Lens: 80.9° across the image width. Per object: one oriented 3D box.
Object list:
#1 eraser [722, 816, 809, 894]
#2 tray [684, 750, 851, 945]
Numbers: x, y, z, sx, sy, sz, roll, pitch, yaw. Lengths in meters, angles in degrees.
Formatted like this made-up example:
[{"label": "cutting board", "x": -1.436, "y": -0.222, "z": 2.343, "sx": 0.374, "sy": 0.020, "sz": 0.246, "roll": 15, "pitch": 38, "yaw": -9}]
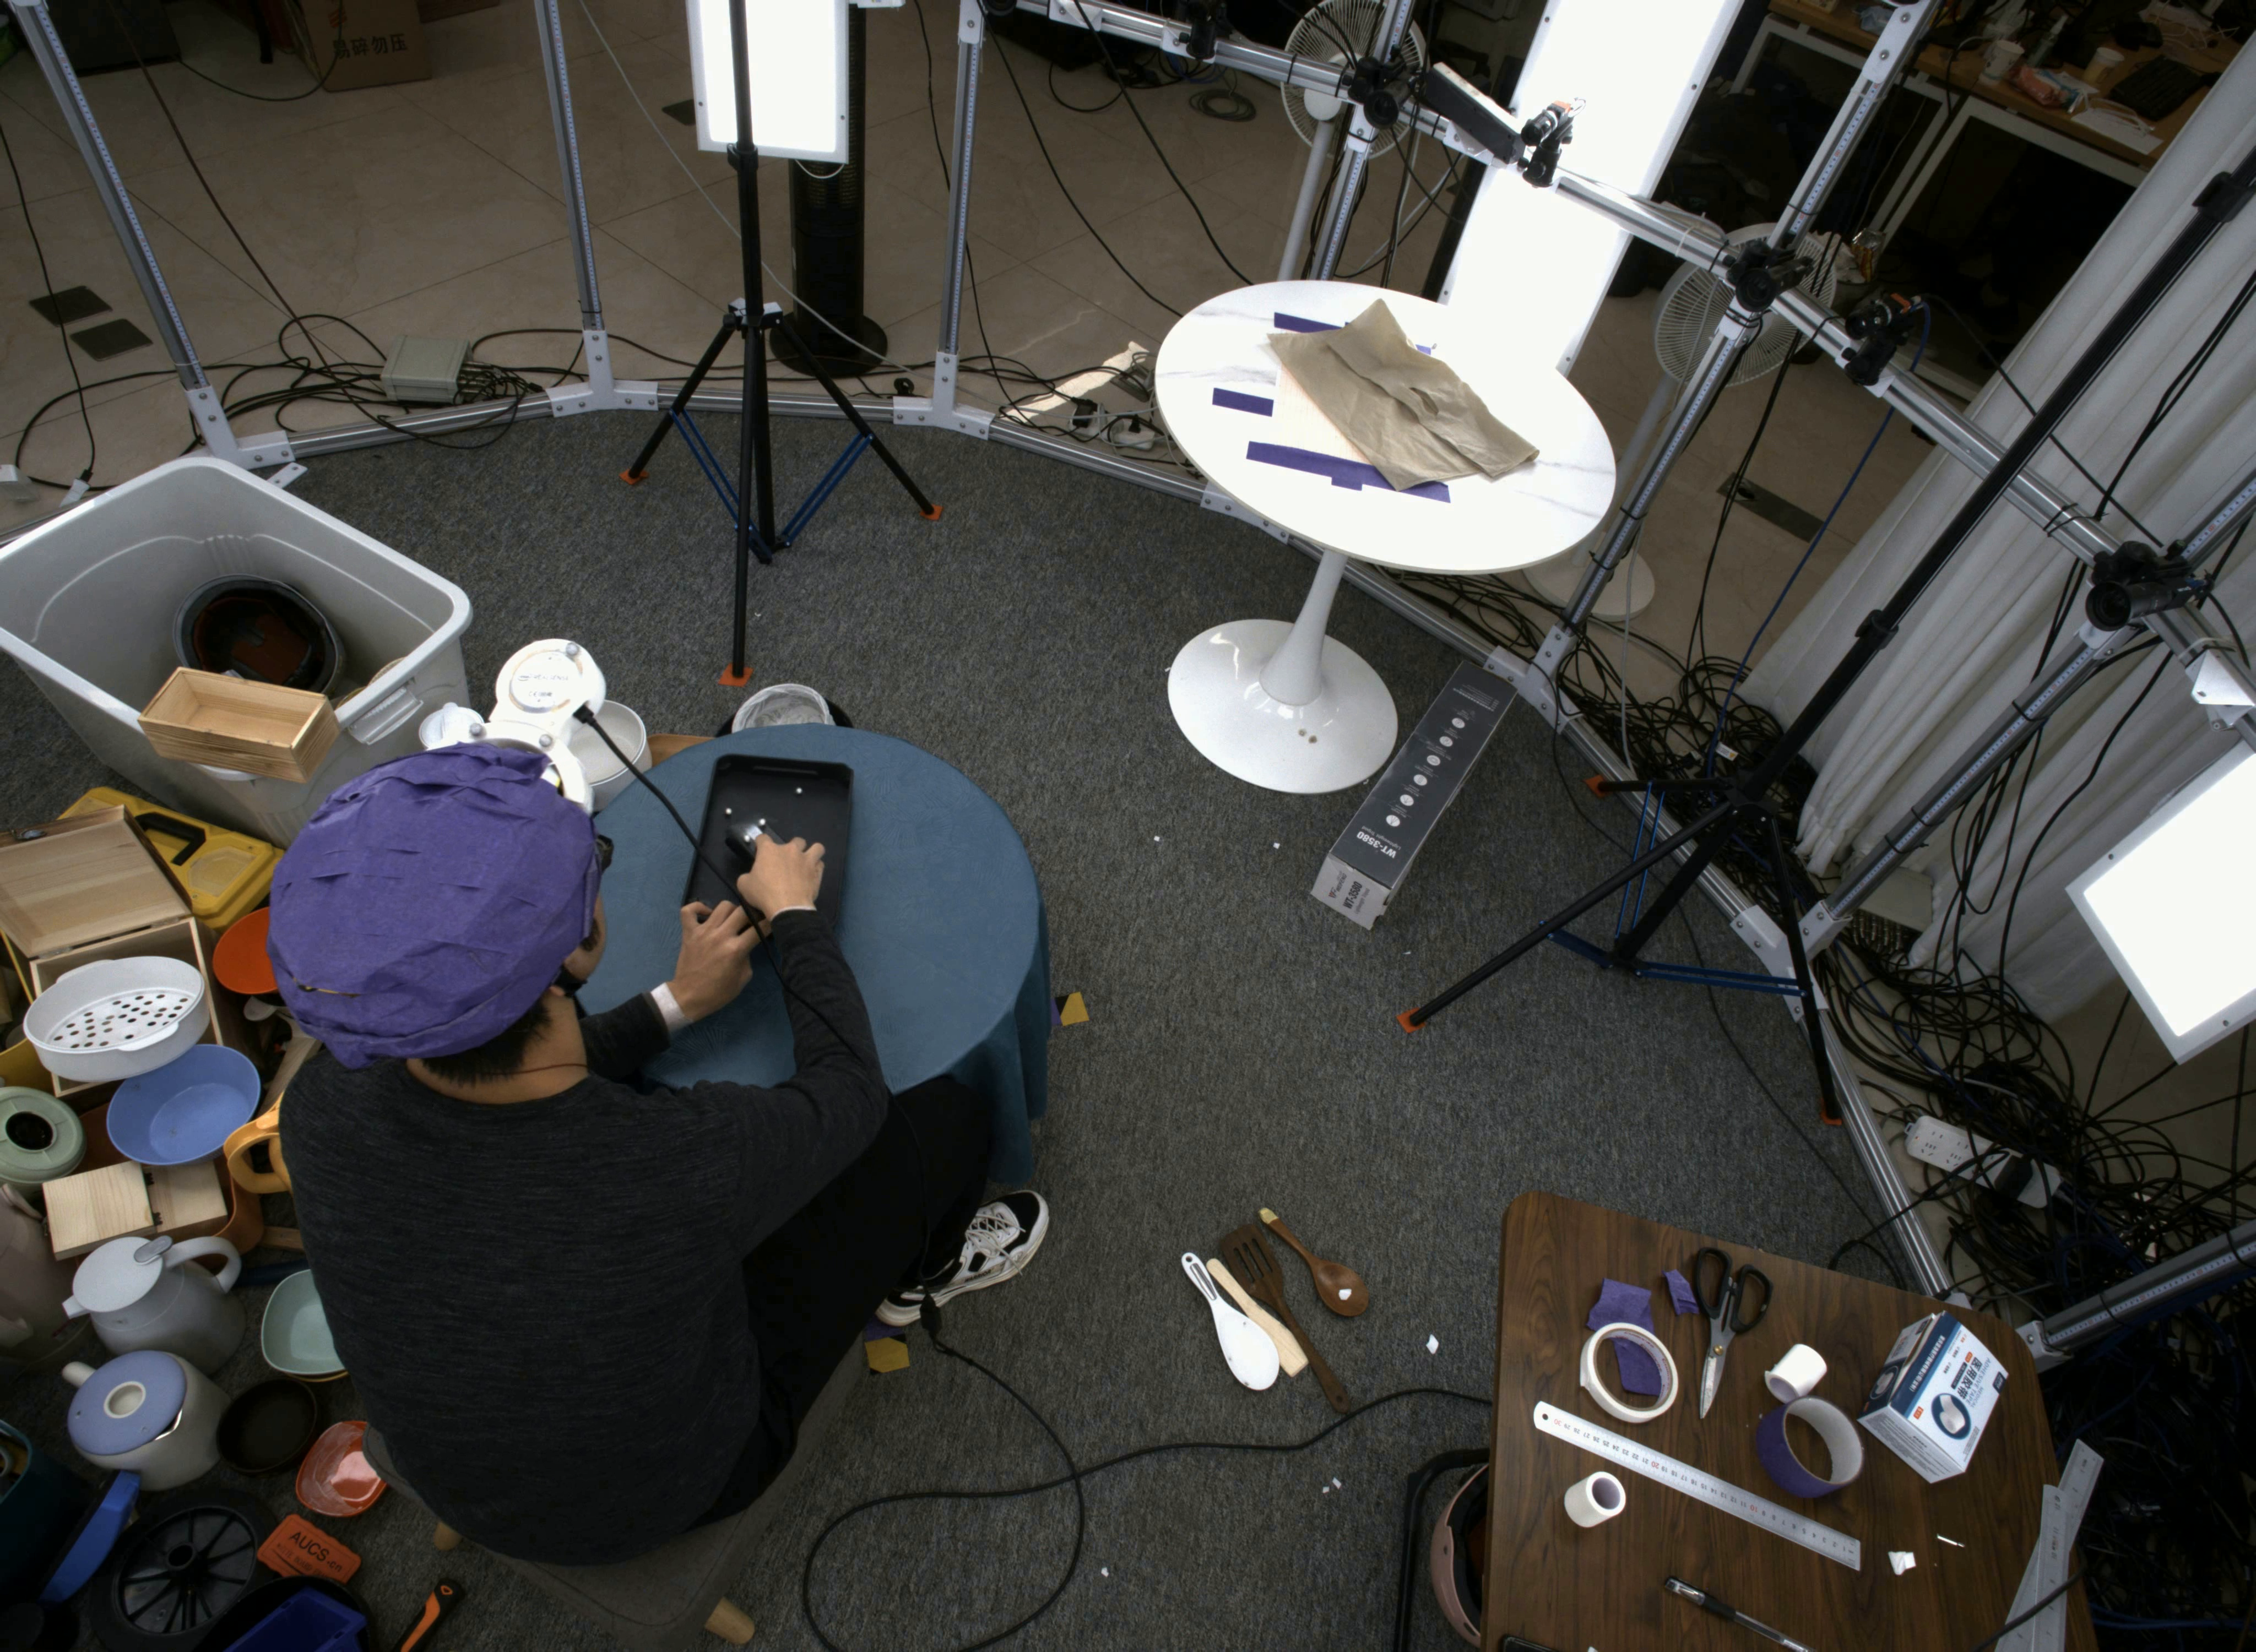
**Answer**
[{"label": "eraser", "x": -0.445, "y": 0.033, "z": 1.587, "sx": 0.054, "sy": 0.031, "sz": 0.121, "roll": -25, "pitch": 46, "yaw": -36}, {"label": "tray", "x": -0.449, "y": 0.020, "z": 1.636, "sx": 0.185, "sy": 0.038, "sz": 0.310, "roll": 5, "pitch": 42, "yaw": -14}]
